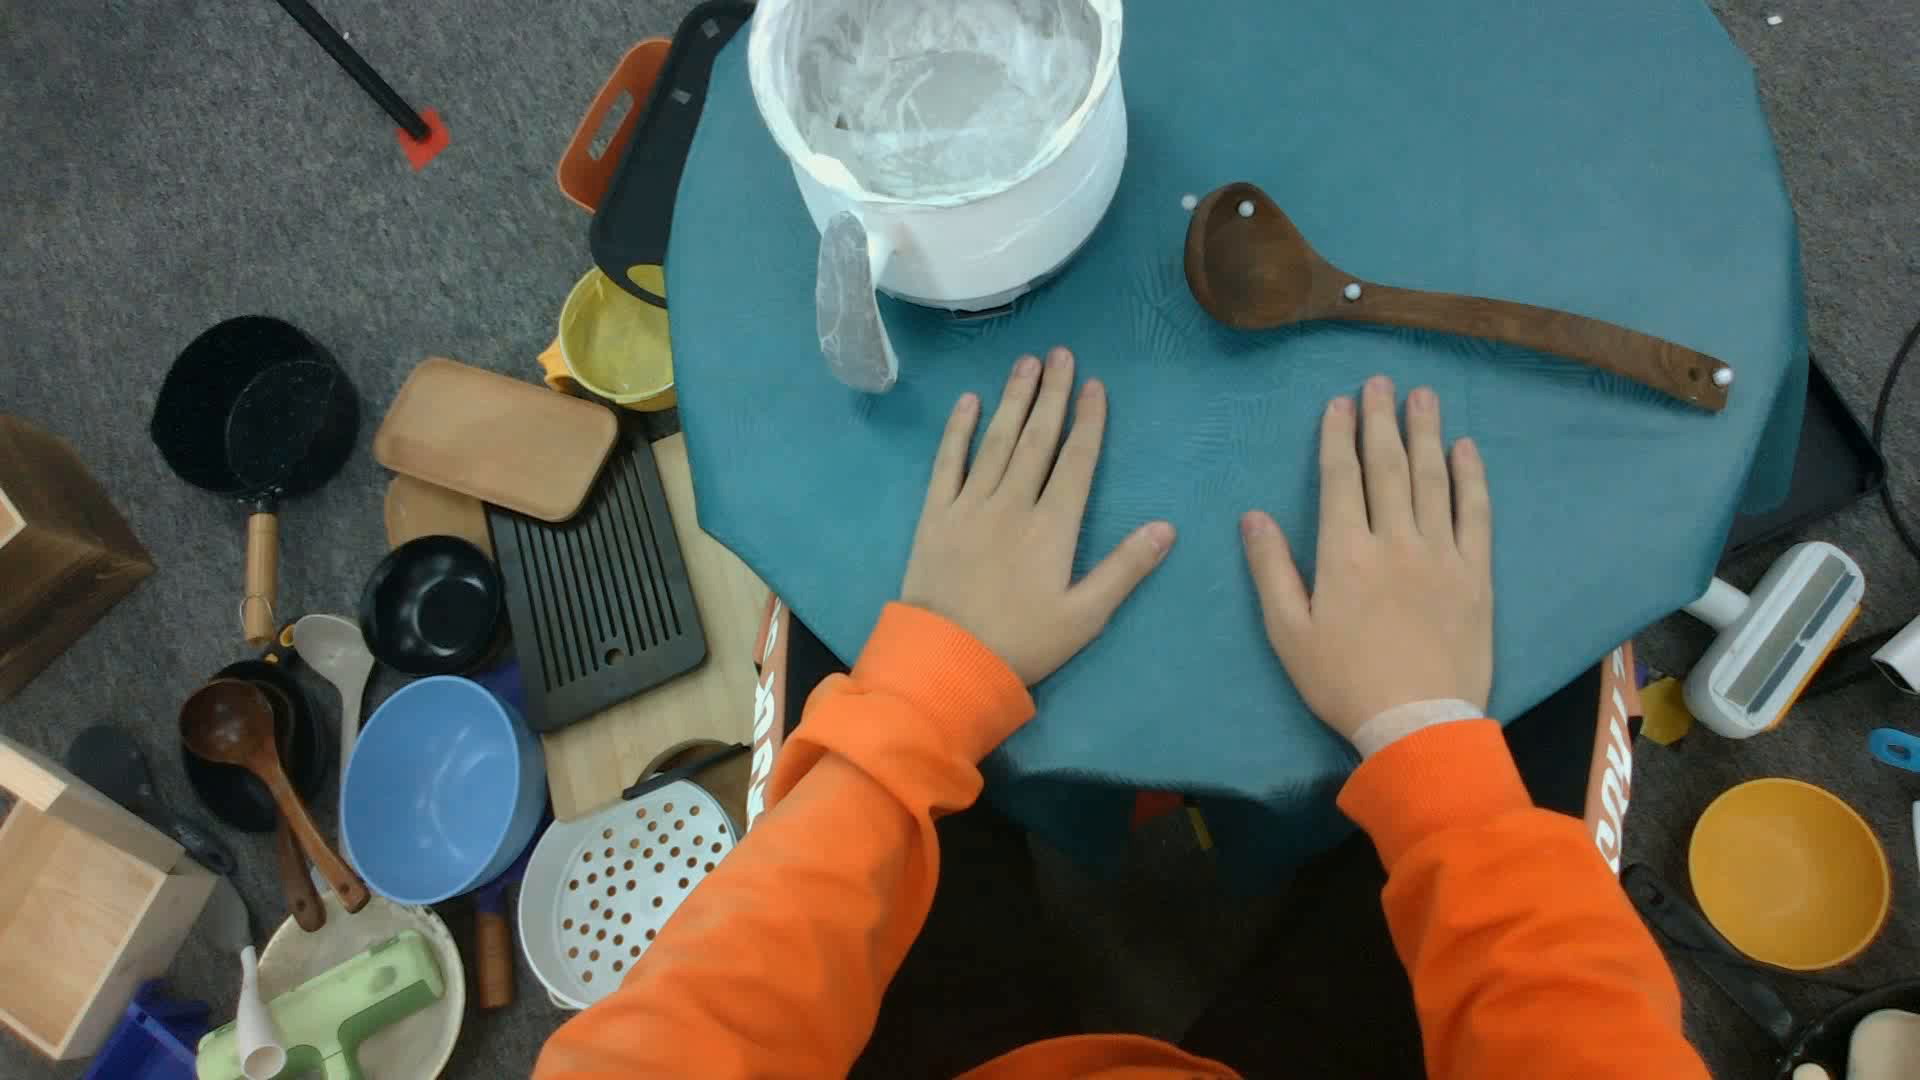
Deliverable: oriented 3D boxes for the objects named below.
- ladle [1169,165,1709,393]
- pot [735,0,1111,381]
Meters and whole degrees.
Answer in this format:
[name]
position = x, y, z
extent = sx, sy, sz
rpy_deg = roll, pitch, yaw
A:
[ladle]
position = 0.239, -0.125, 0.685
extent = 0.274, 0.071, 0.076
rpy_deg = 15, 81, 12
[pot]
position = -0.022, -0.201, 0.704
extent = 0.178, 0.136, 0.234
rpy_deg = 19, 78, 12
